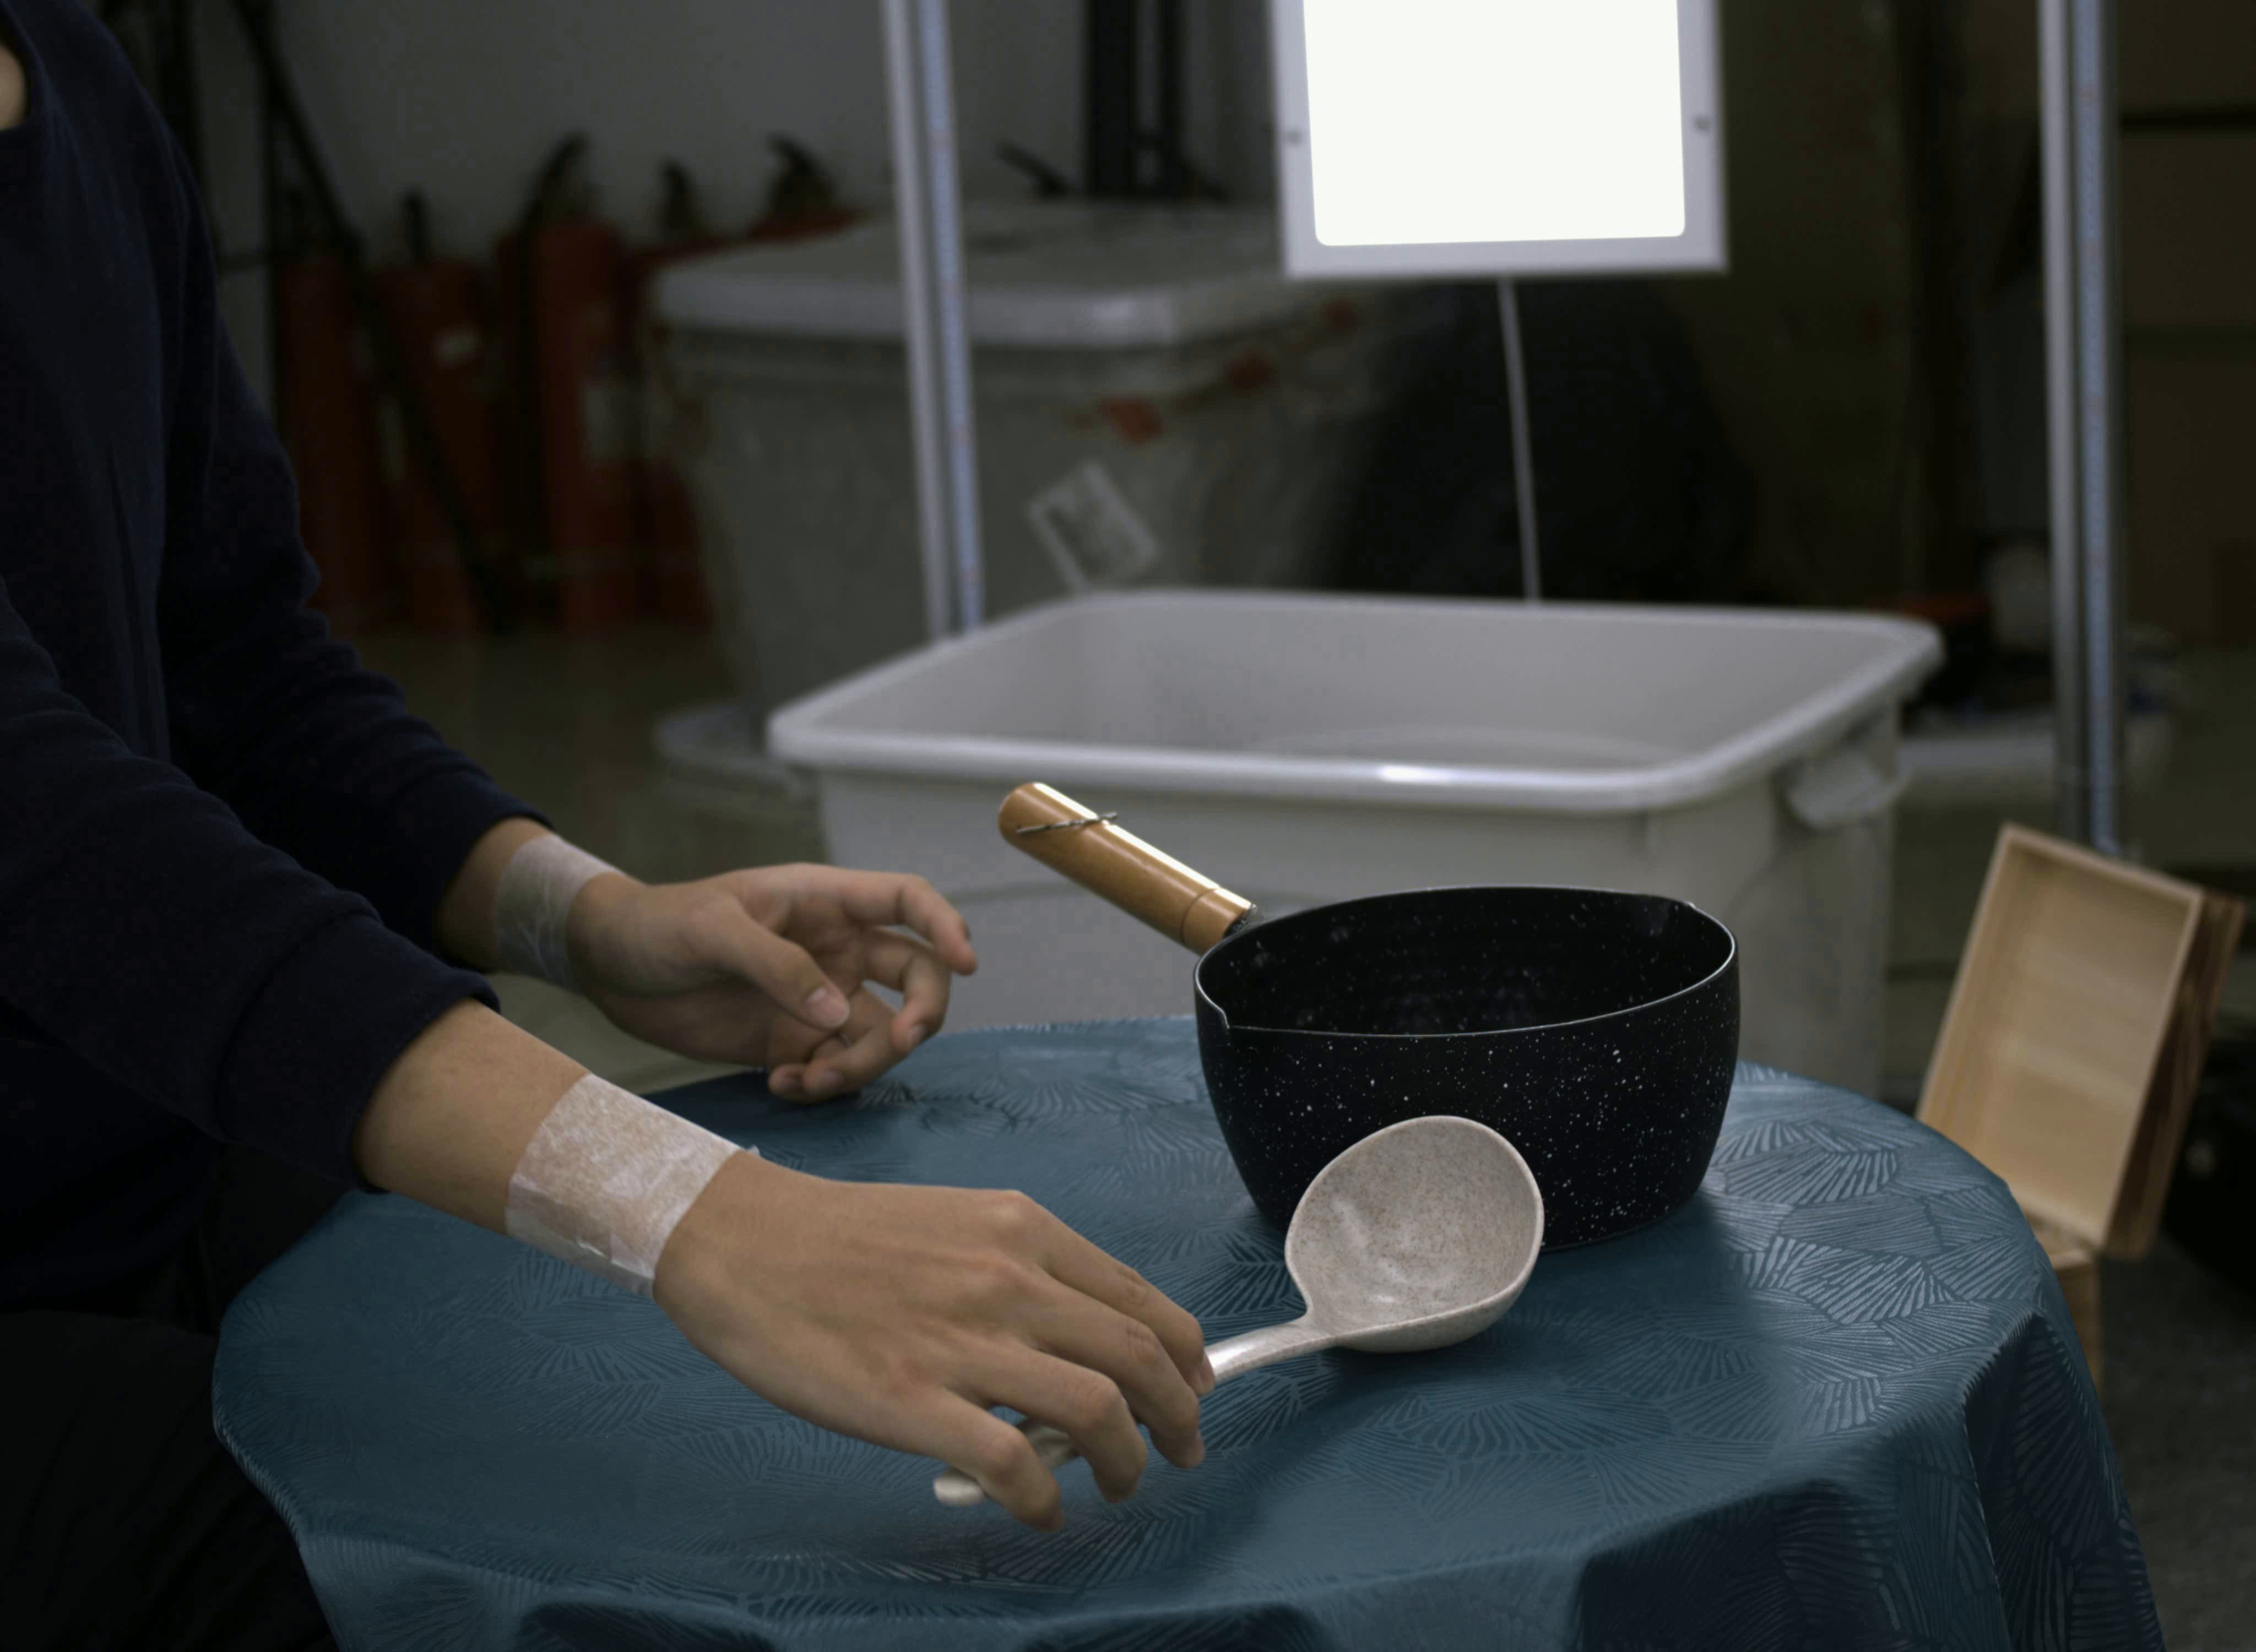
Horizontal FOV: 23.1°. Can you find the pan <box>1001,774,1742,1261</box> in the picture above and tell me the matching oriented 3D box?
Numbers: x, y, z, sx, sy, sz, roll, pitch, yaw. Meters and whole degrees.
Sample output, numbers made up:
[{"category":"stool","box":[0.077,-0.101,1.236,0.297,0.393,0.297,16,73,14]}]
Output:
[{"category":"pan","box":[0.066,0.061,1.912,0.202,0.108,0.350,-16,19,-35]}]

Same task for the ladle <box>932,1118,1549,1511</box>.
[{"category":"ladle","box":[0.030,0.141,1.631,0.091,0.070,0.268,16,15,33]}]
